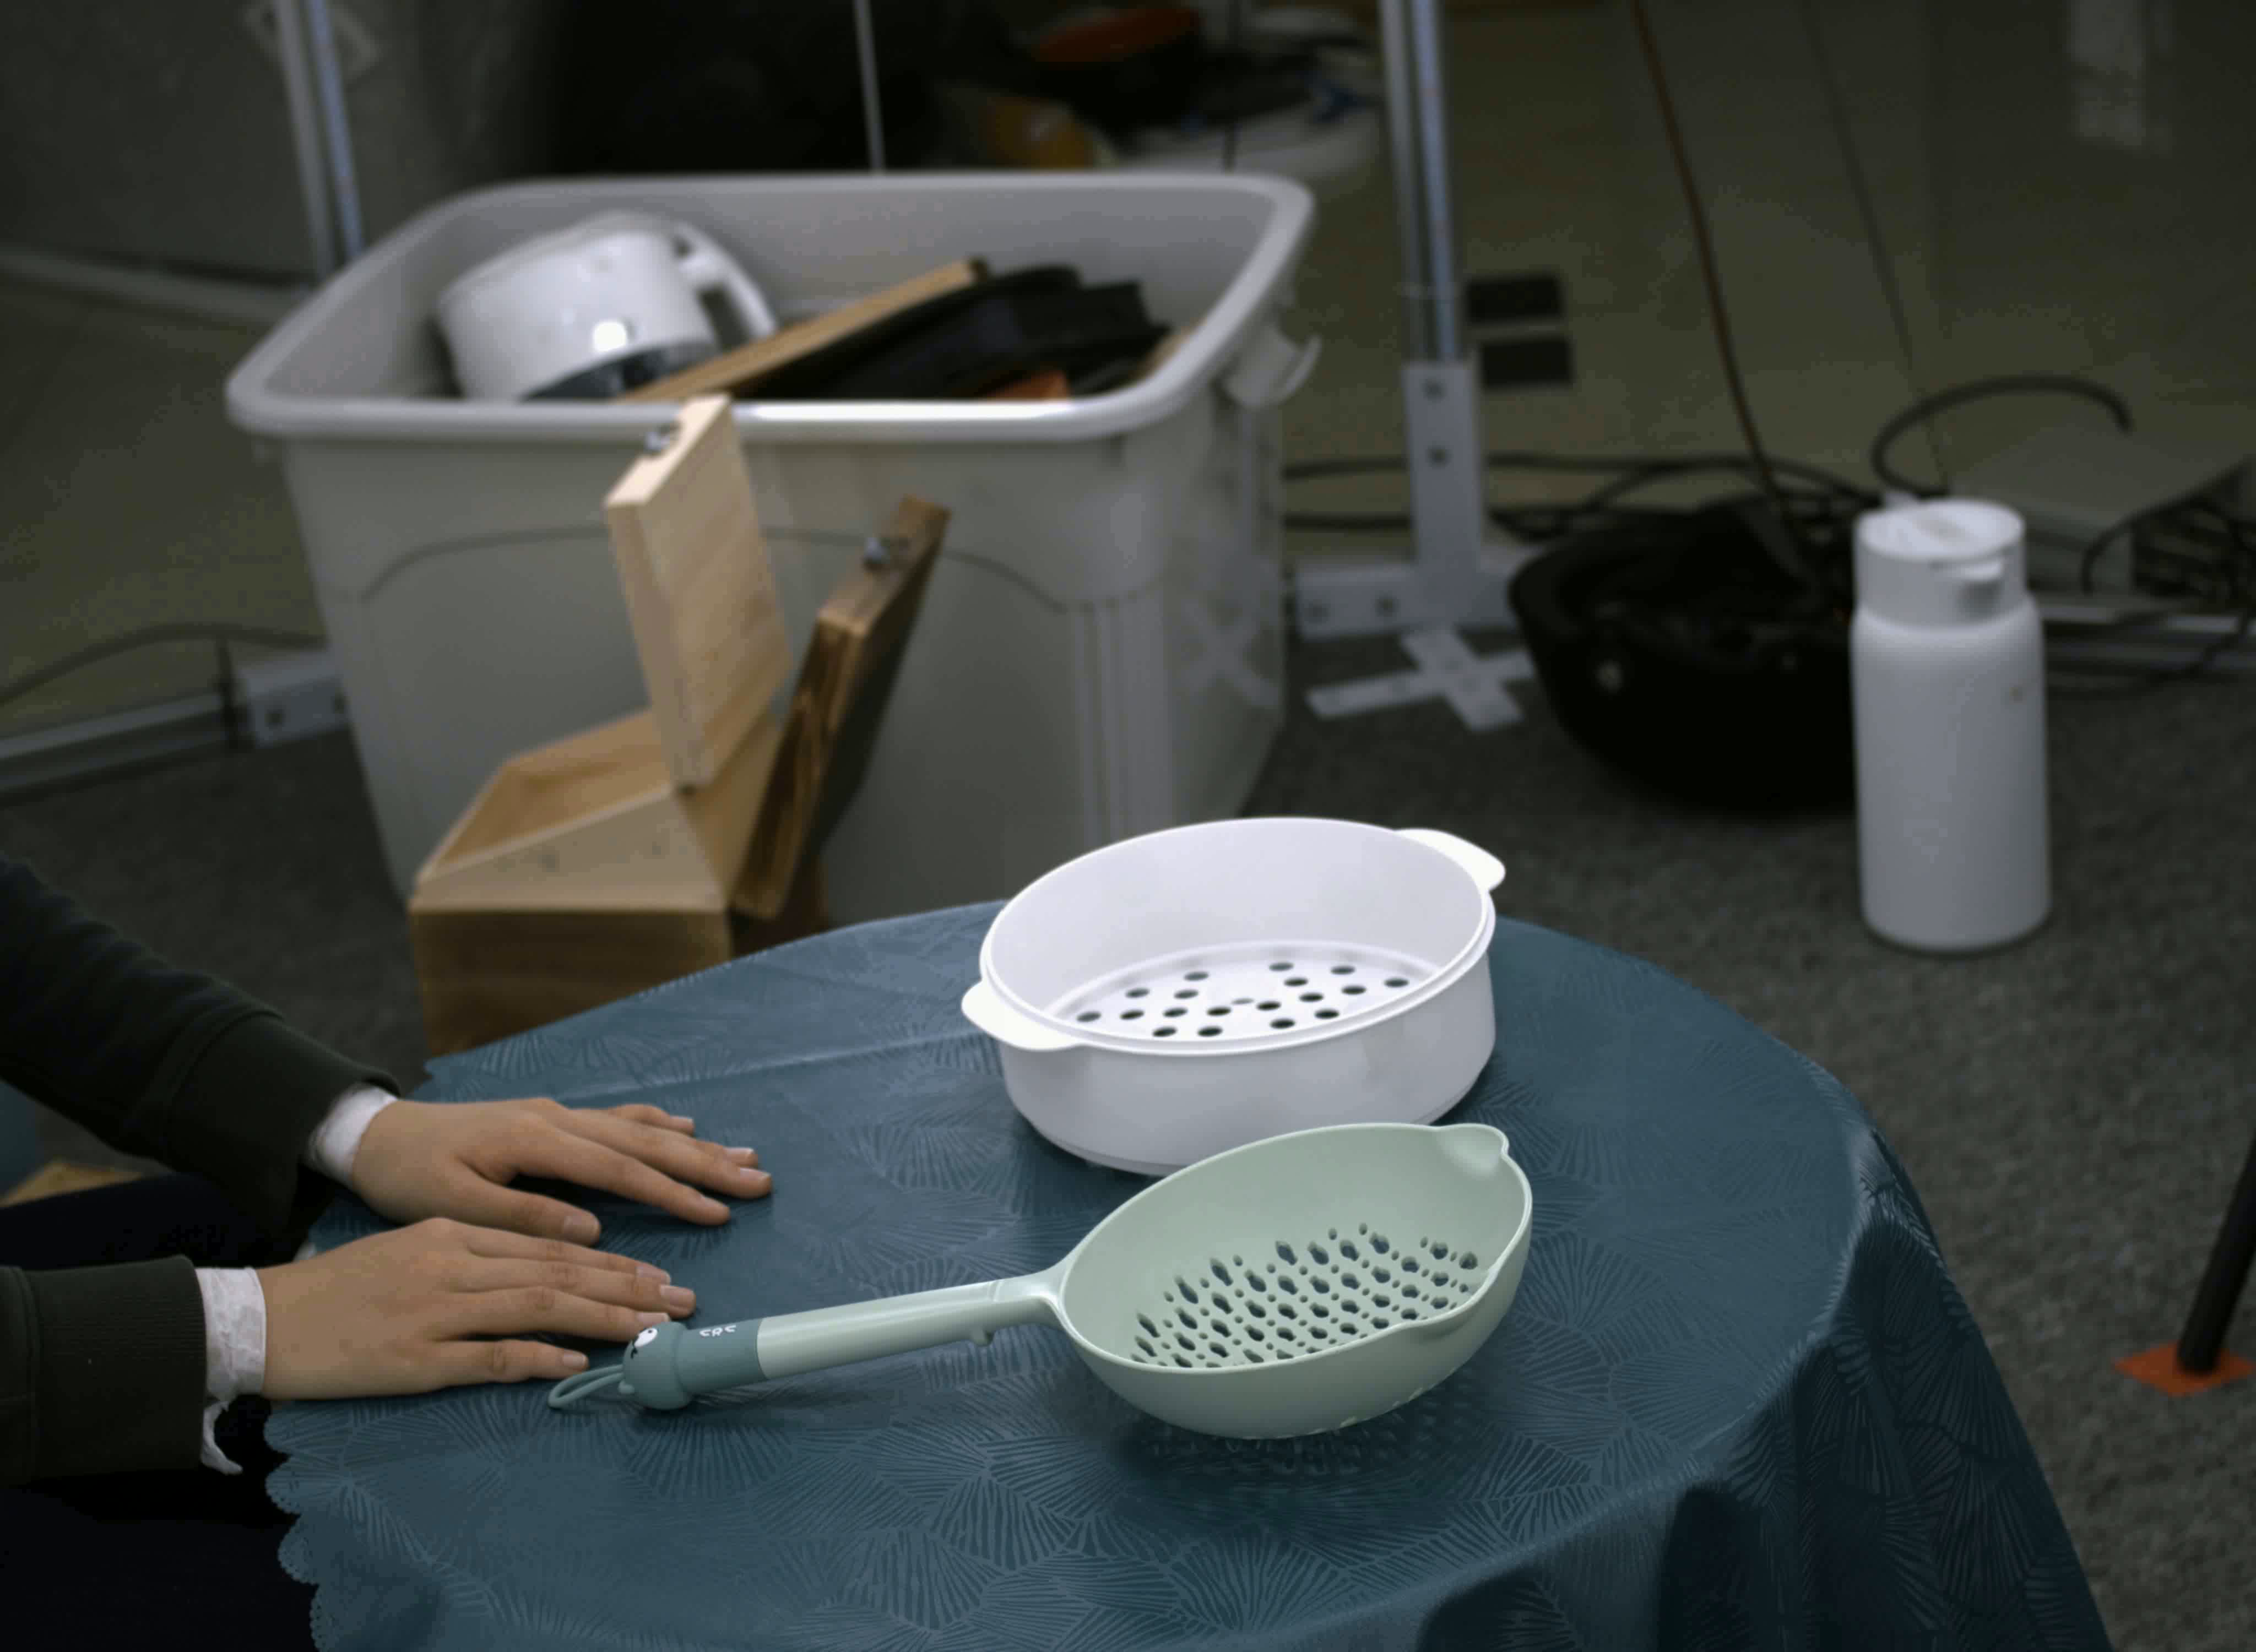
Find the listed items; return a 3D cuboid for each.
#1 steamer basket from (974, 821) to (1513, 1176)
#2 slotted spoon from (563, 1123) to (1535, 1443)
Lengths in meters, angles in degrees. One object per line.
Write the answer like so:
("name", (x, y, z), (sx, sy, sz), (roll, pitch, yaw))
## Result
("steamer basket", (0.049, 0.068, 2.214), (0.229, 0.070, 0.200), (-20, 27, -27))
("slotted spoon", (-0.032, 0.173, 2.010), (0.358, 0.076, 0.167), (-2, 25, 10))
